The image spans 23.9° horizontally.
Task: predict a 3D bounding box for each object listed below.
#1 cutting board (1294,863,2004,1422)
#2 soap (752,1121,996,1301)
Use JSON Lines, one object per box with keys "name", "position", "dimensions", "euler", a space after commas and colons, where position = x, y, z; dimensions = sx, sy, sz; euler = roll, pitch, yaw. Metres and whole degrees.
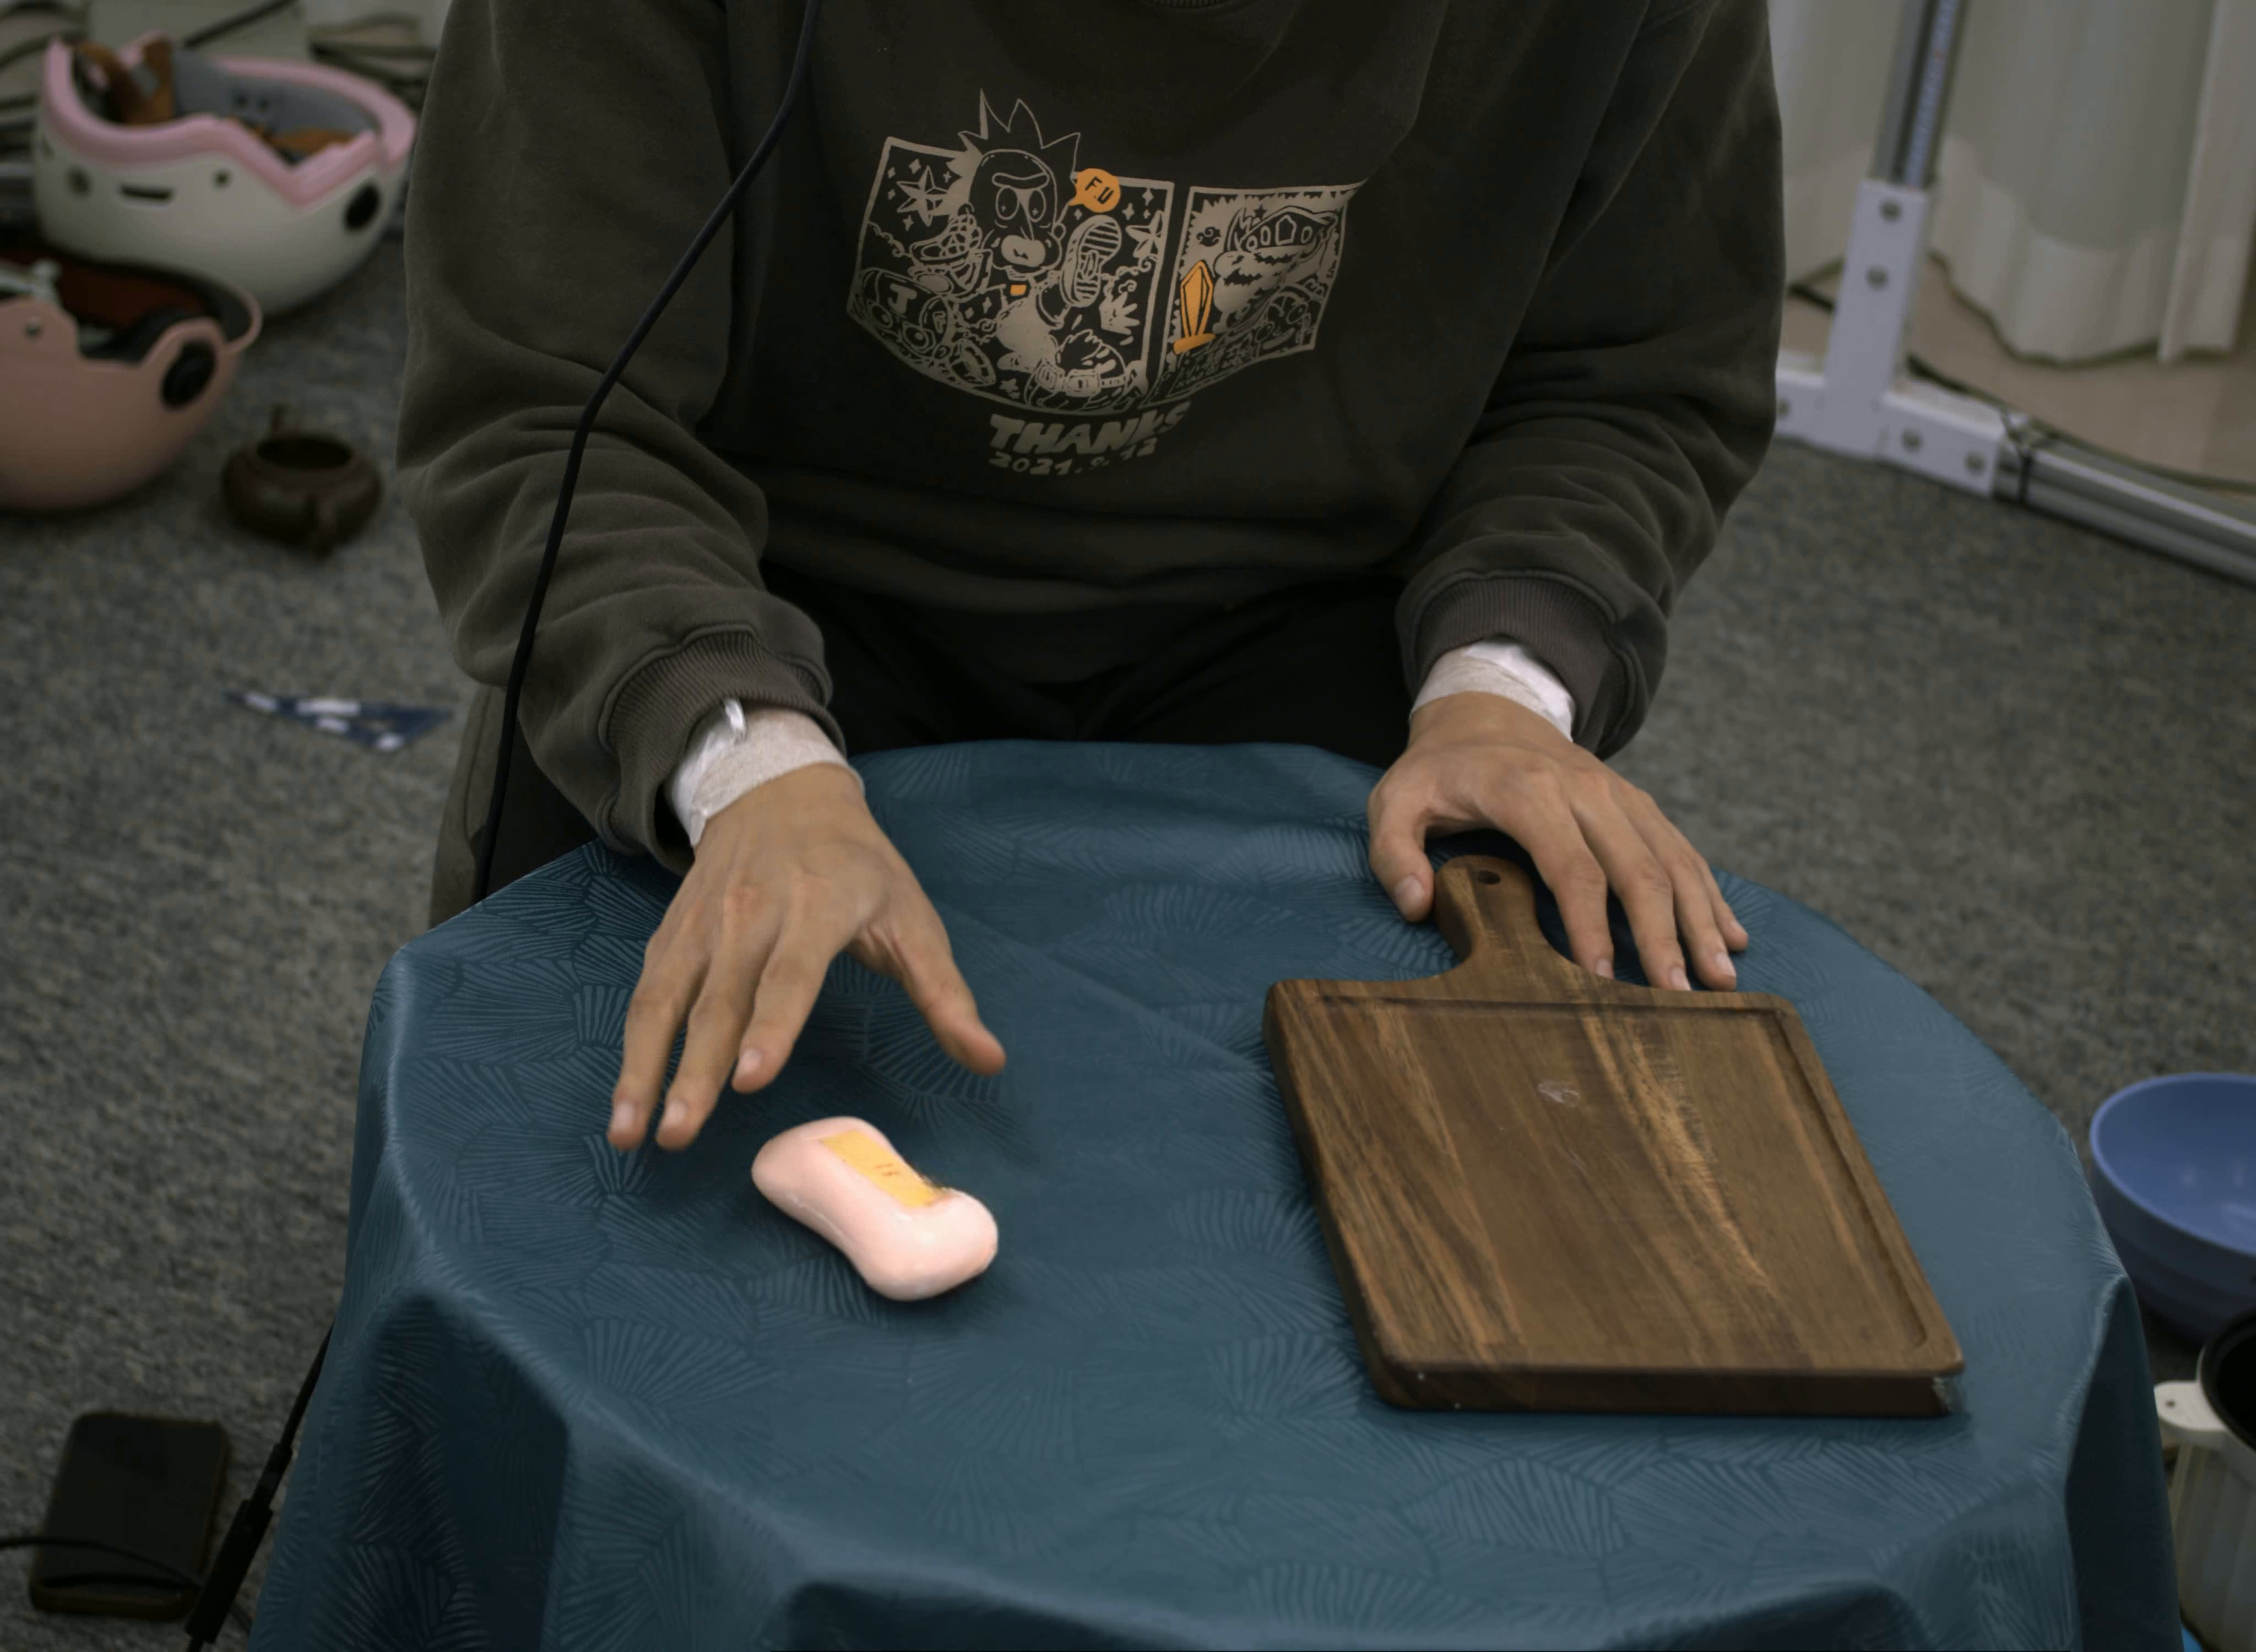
{"name": "cutting board", "position": [0.166, 0.103, 1.859], "dimensions": [0.200, 0.023, 0.355], "euler": [2, 27, -8]}
{"name": "soap", "position": [-0.084, 0.126, 1.749], "dimensions": [0.050, 0.030, 0.095], "euler": [-12, 31, -34]}
